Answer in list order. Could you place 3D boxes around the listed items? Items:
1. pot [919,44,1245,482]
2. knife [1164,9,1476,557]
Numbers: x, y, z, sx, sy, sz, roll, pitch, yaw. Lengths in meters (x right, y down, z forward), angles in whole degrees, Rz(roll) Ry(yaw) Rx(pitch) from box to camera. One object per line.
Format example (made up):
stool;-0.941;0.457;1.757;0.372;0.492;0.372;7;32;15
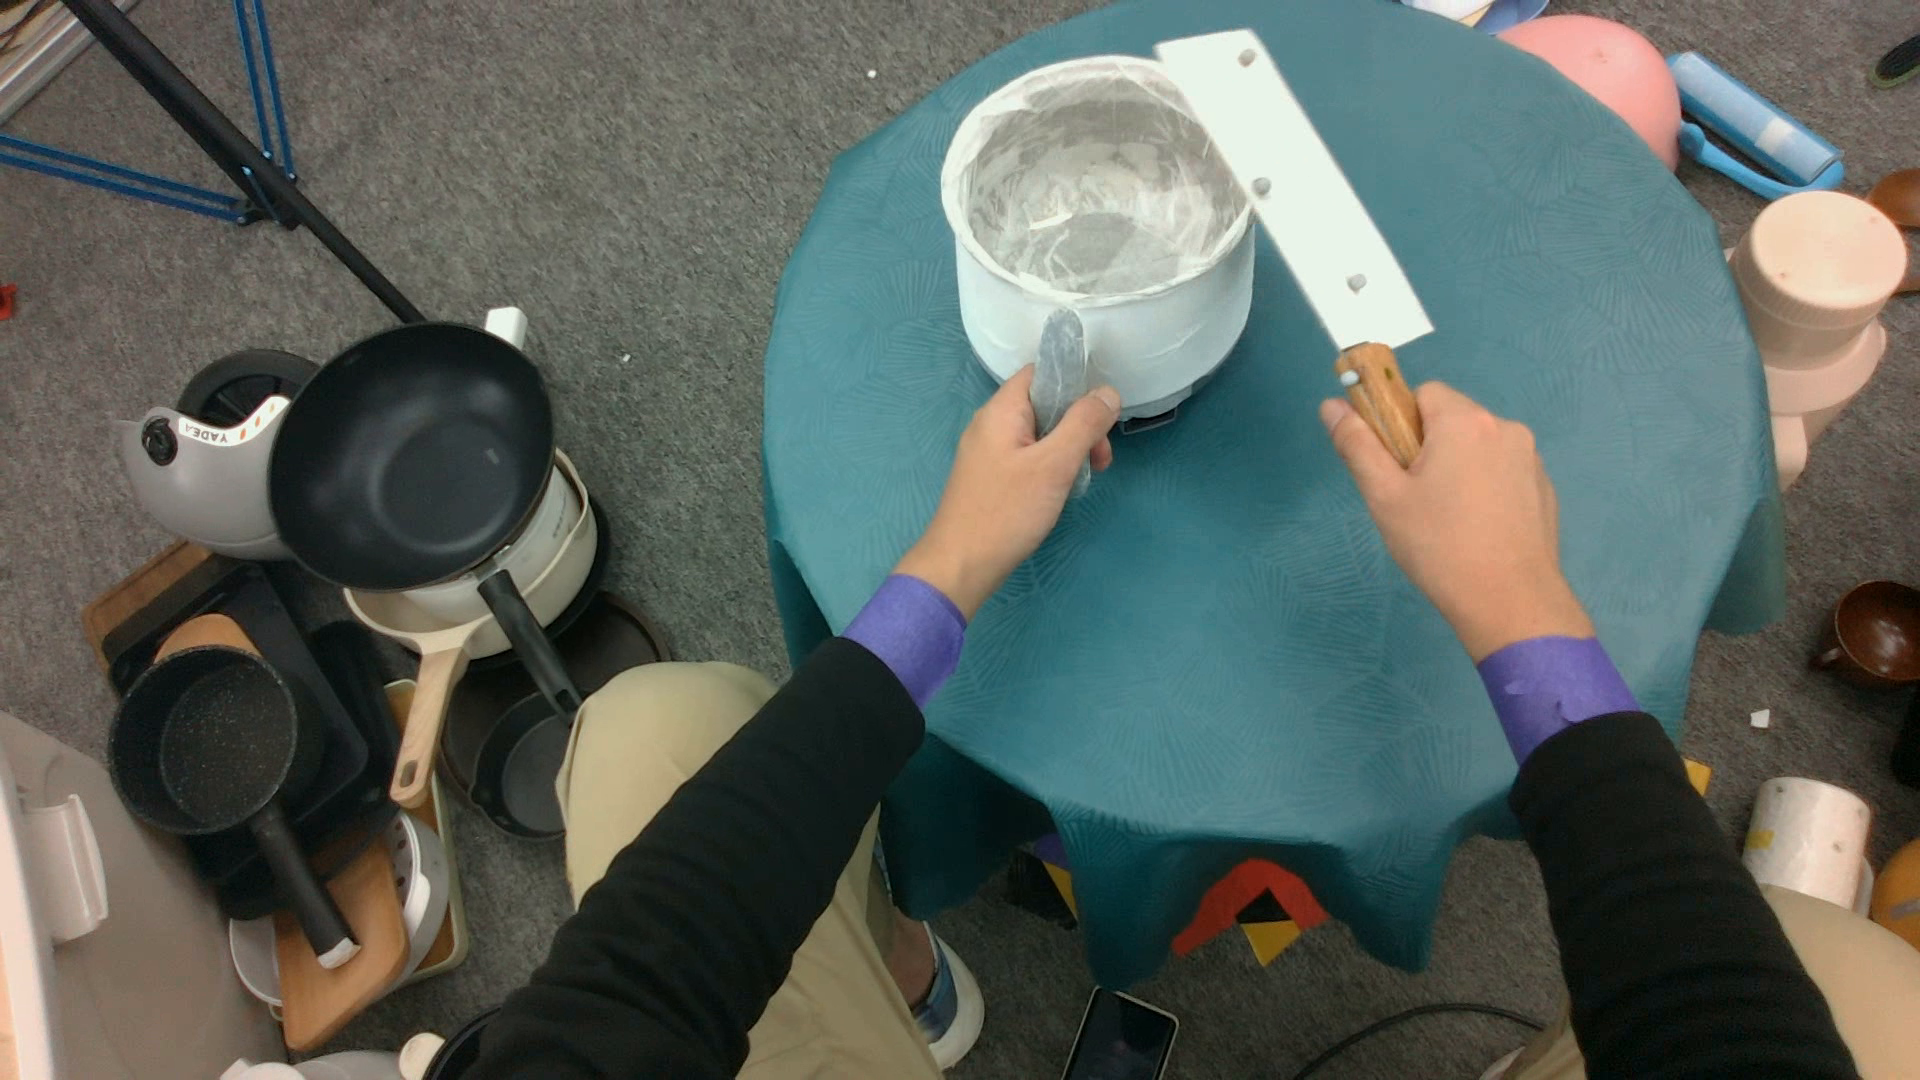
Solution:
pot;0.066;-0.154;0.792;0.178;0.136;0.234;7;61;11
knife;0.198;-0.140;0.712;0.093;0.021;0.306;-22;84;-39
